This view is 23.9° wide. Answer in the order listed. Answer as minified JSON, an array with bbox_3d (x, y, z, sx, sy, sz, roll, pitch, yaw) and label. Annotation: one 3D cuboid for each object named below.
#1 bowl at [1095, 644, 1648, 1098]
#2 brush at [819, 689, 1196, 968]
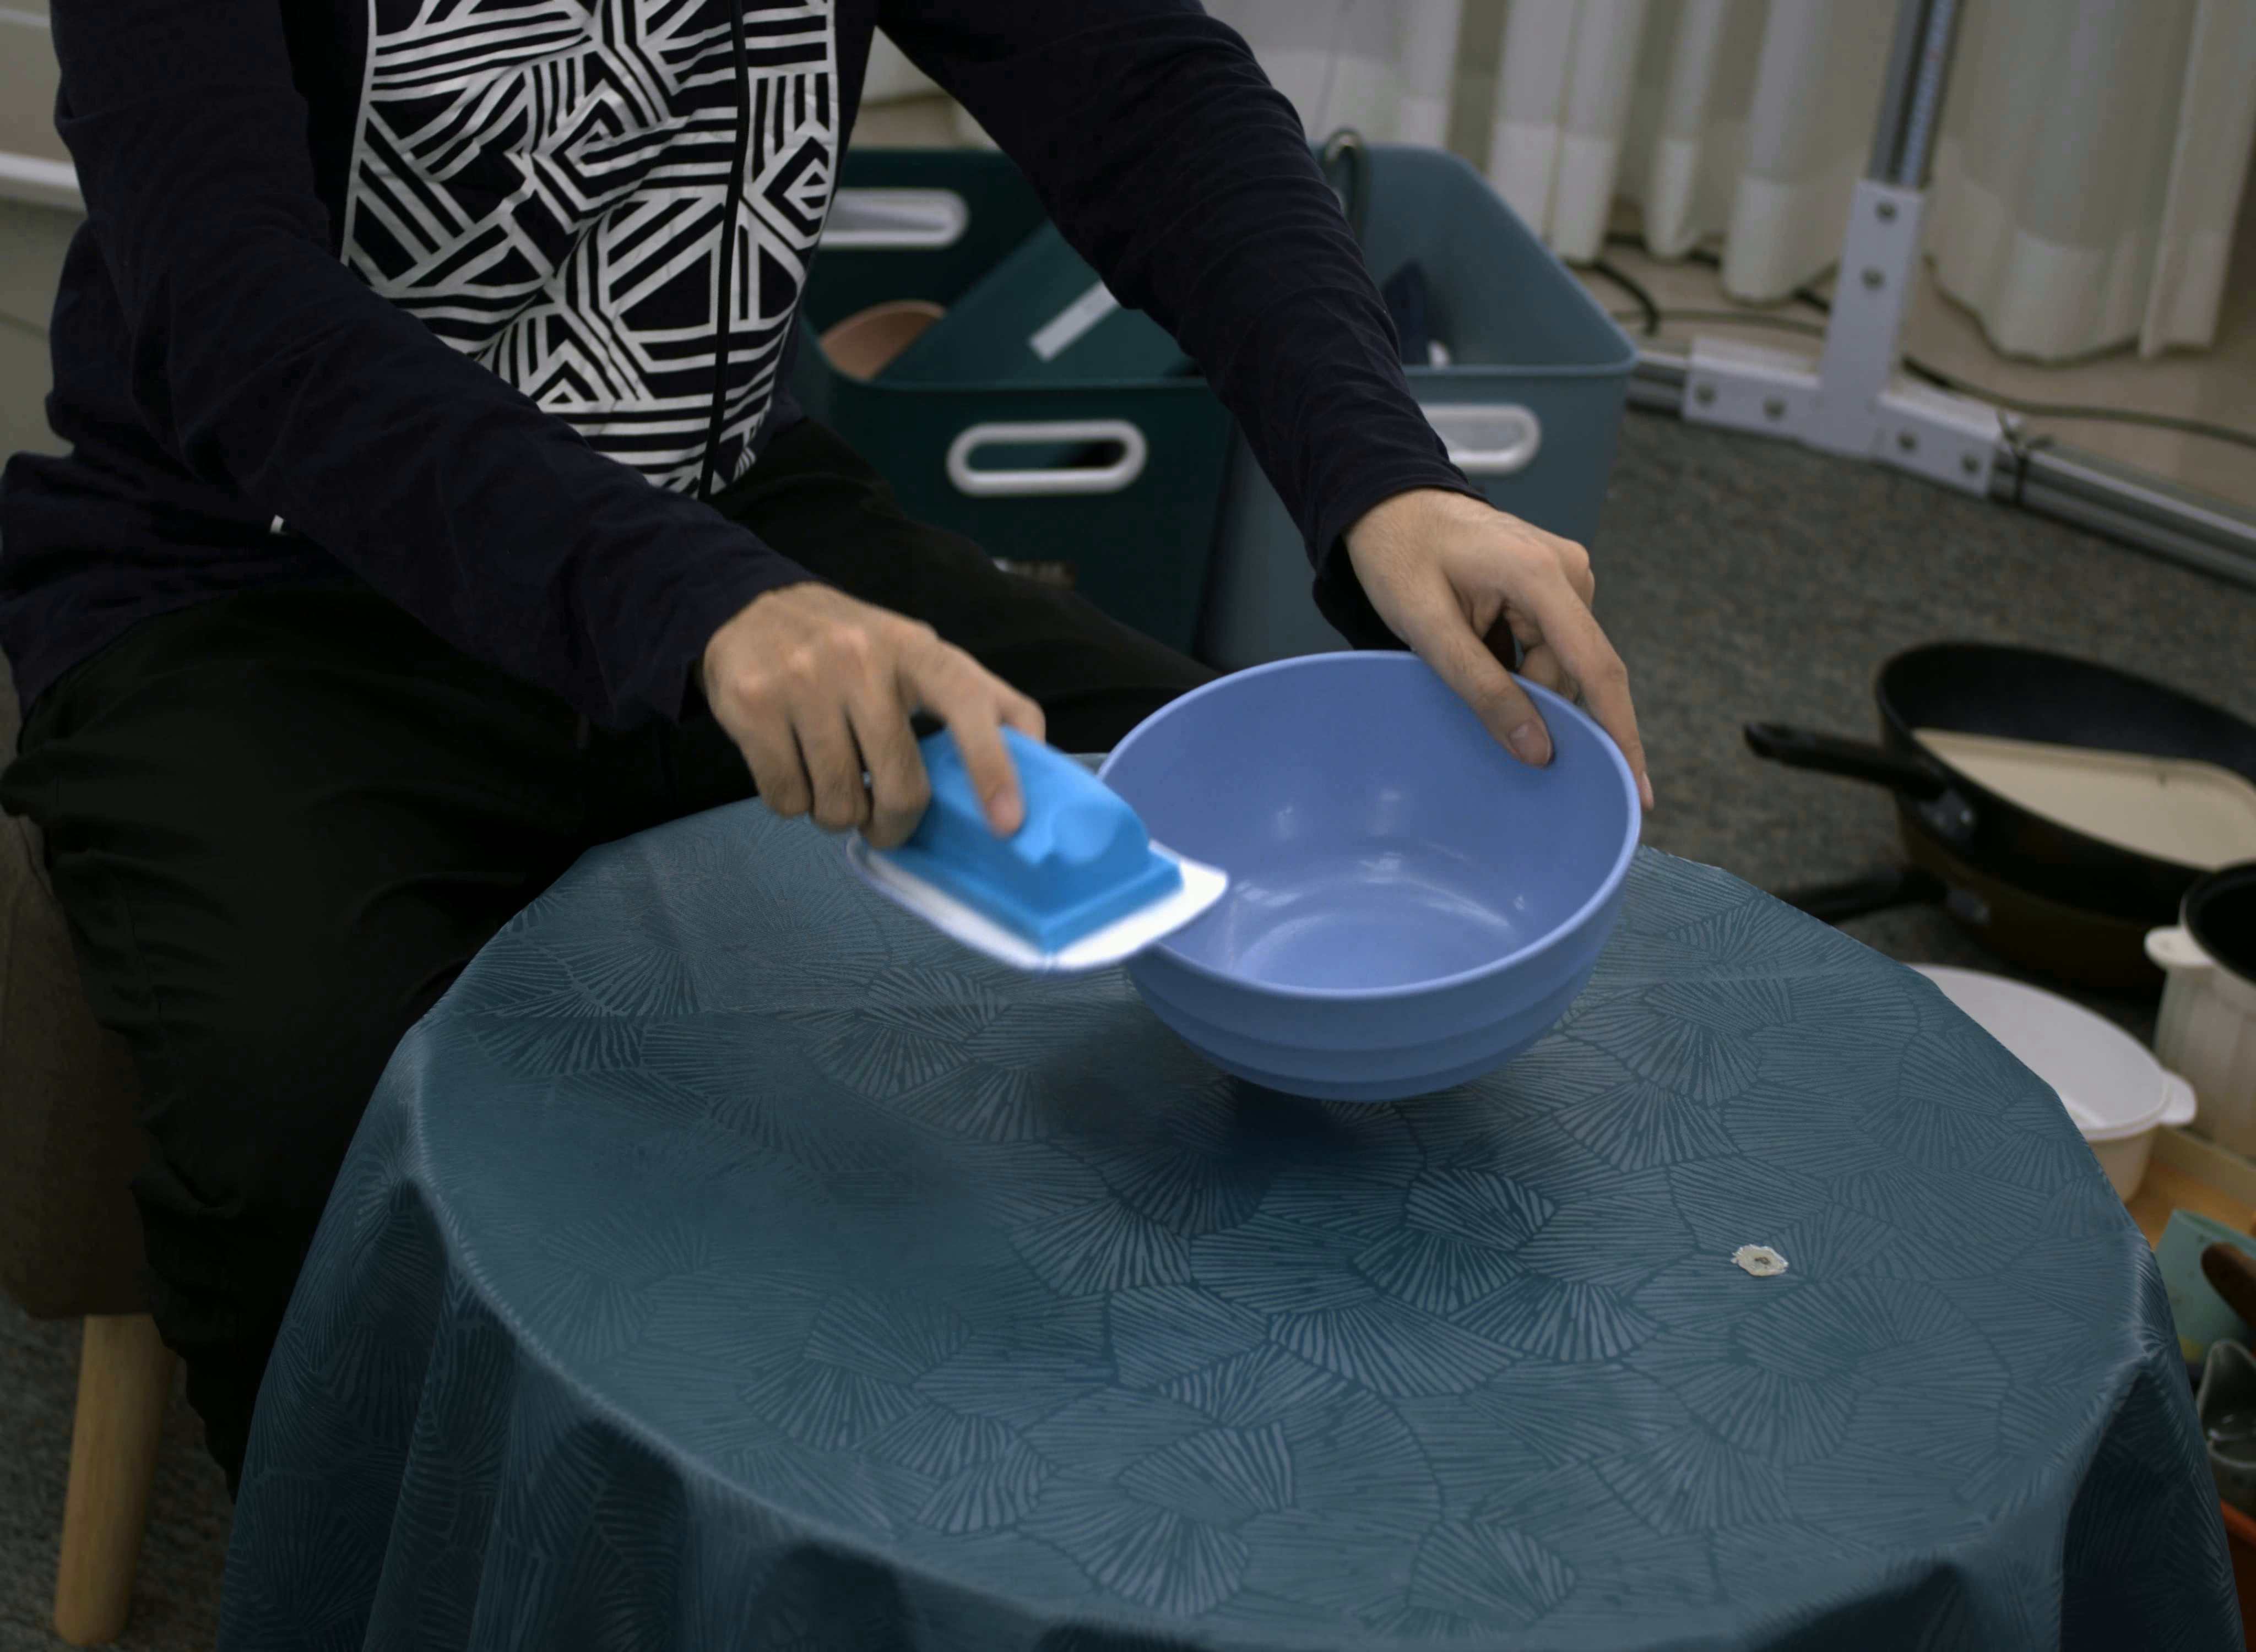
[{"bbox_3d":[0.084,0.031,1.880,0.196,0.095,0.198,-2,38,1],"label":"bowl"},{"bbox_3d":[-0.042,-0.003,1.771,0.083,0.055,0.145,-22,32,-22],"label":"brush"}]
